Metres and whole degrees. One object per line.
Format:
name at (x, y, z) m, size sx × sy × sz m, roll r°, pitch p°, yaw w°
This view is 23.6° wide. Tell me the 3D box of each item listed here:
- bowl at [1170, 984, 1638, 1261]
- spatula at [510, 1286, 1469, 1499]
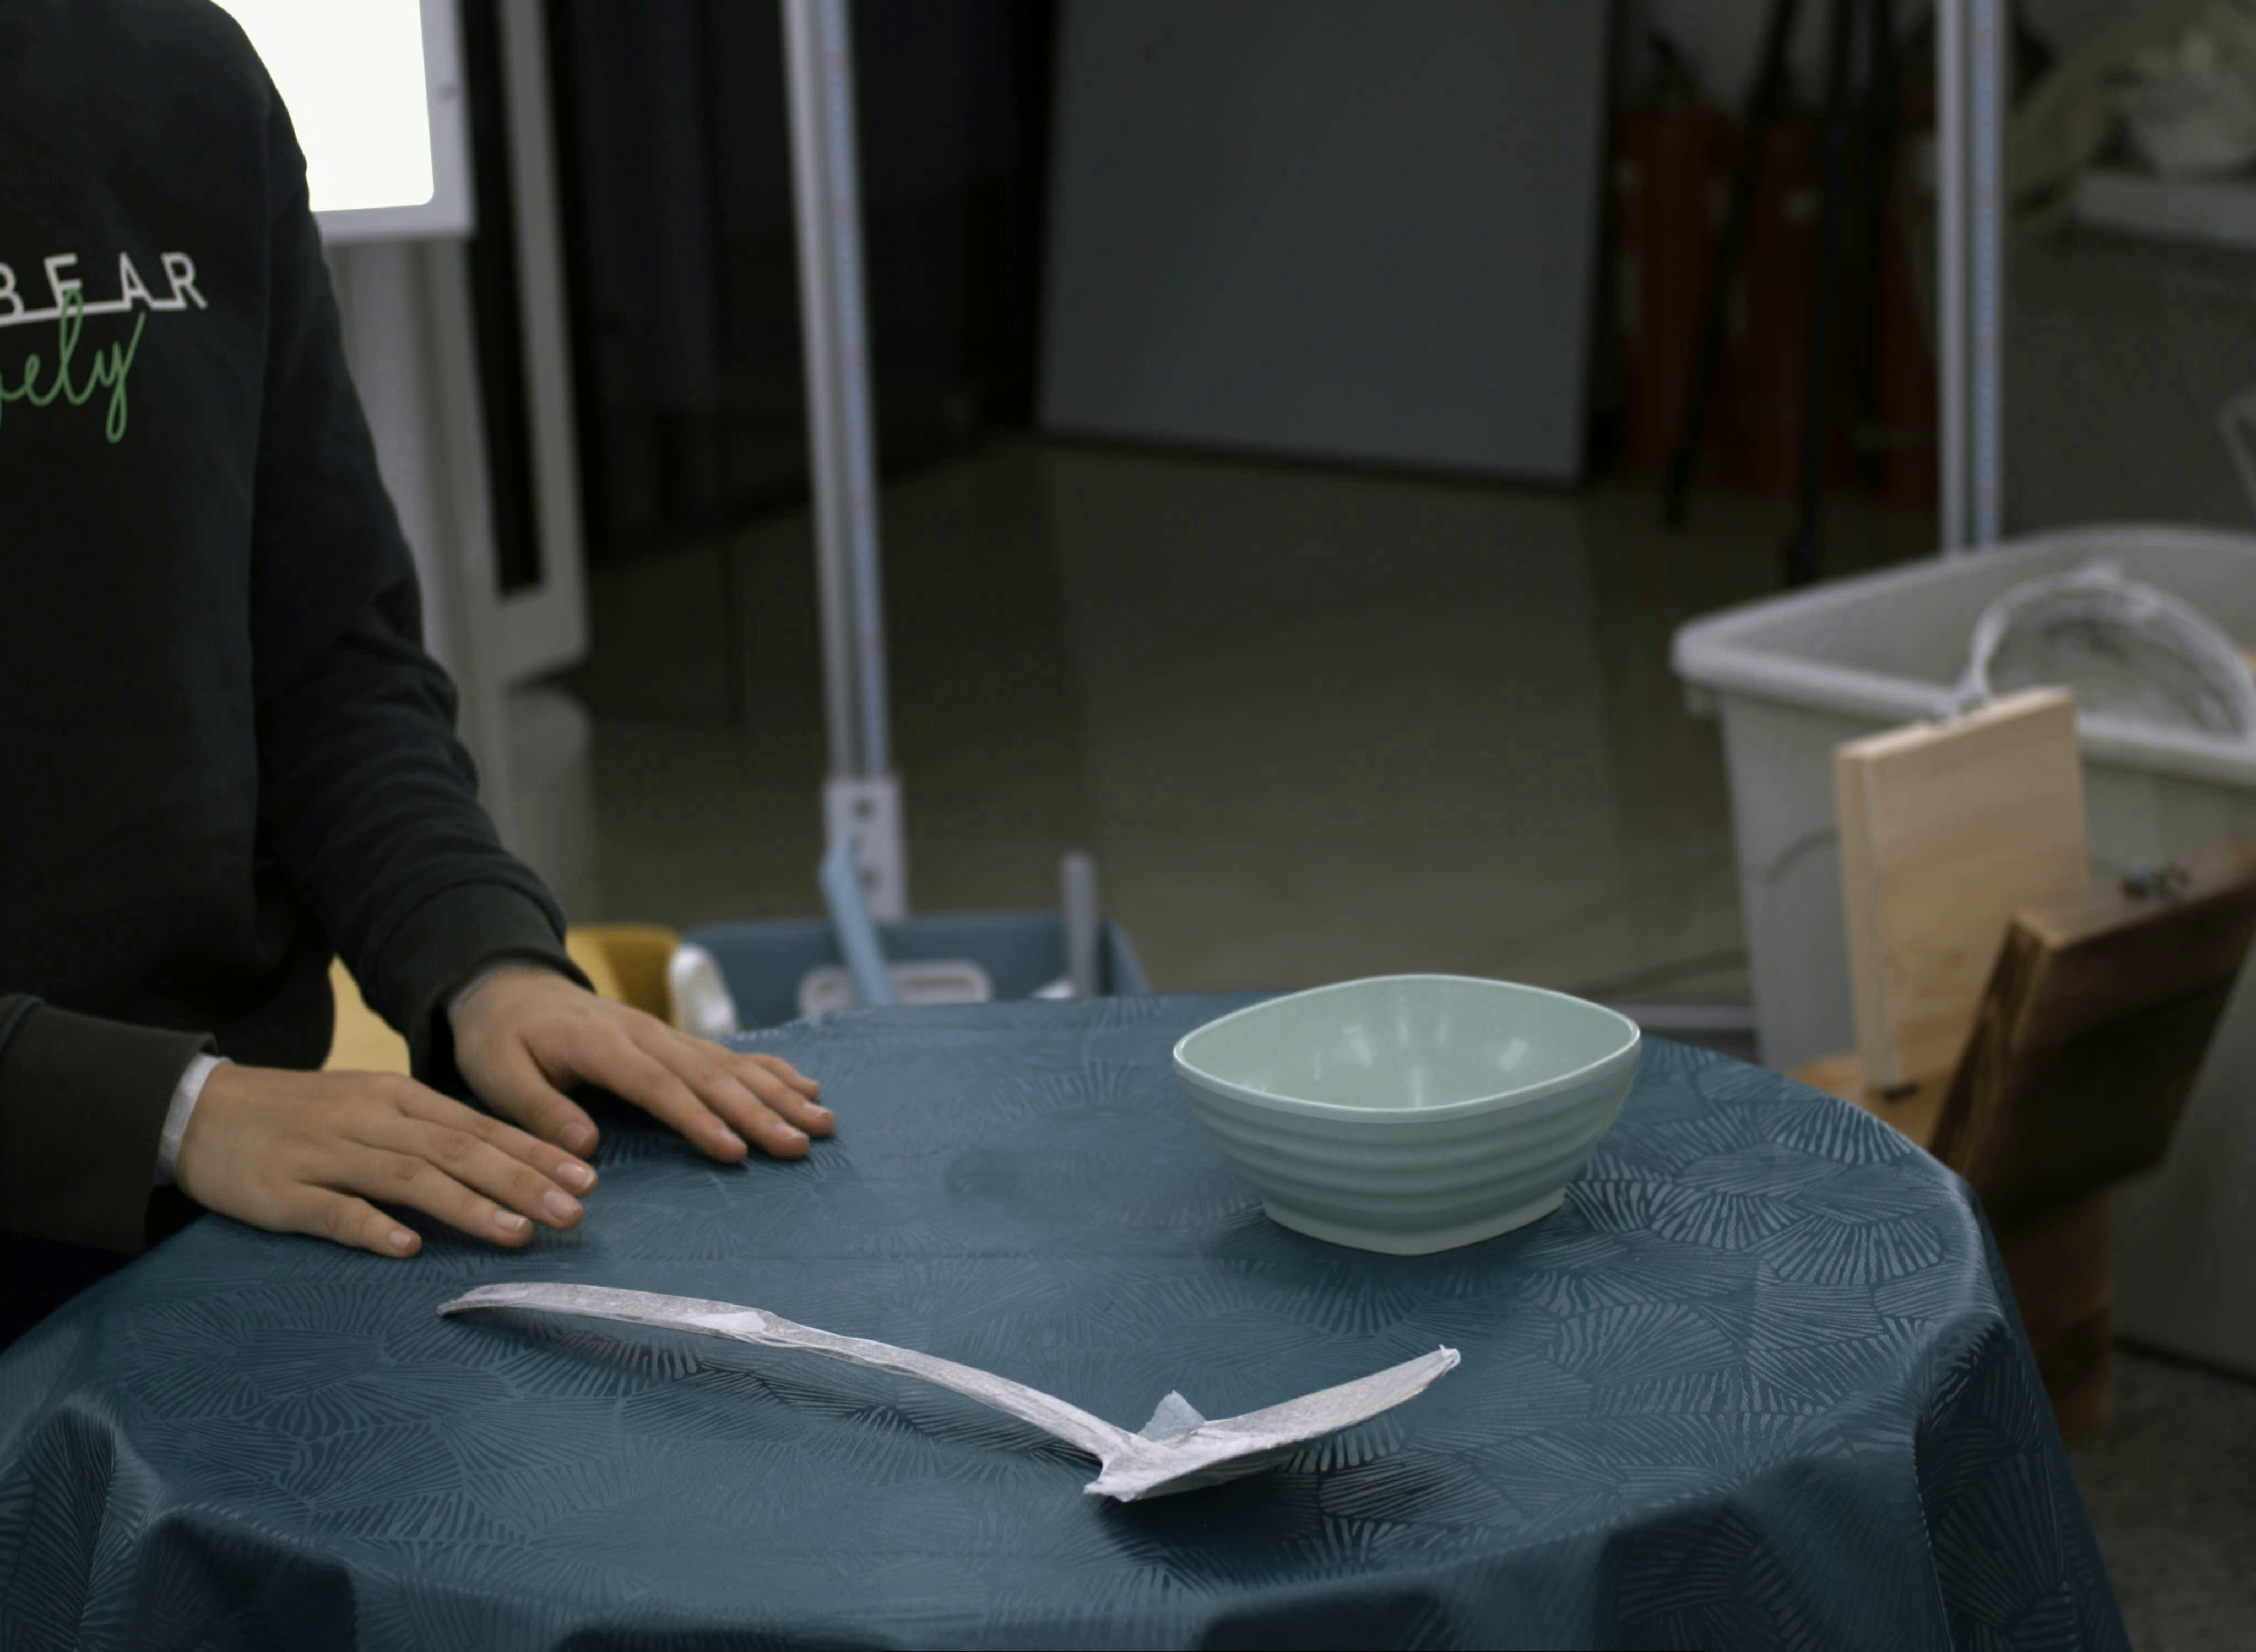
bowl at (0.089, 0.097, 1.727) m, size 0.149 × 0.059 × 0.151 m, roll -2°, pitch 13°, yaw -1°
spatula at (-0.062, 0.153, 1.578) m, size 0.368 × 0.045 × 0.097 m, roll 8°, pitch 20°, yaw 40°
